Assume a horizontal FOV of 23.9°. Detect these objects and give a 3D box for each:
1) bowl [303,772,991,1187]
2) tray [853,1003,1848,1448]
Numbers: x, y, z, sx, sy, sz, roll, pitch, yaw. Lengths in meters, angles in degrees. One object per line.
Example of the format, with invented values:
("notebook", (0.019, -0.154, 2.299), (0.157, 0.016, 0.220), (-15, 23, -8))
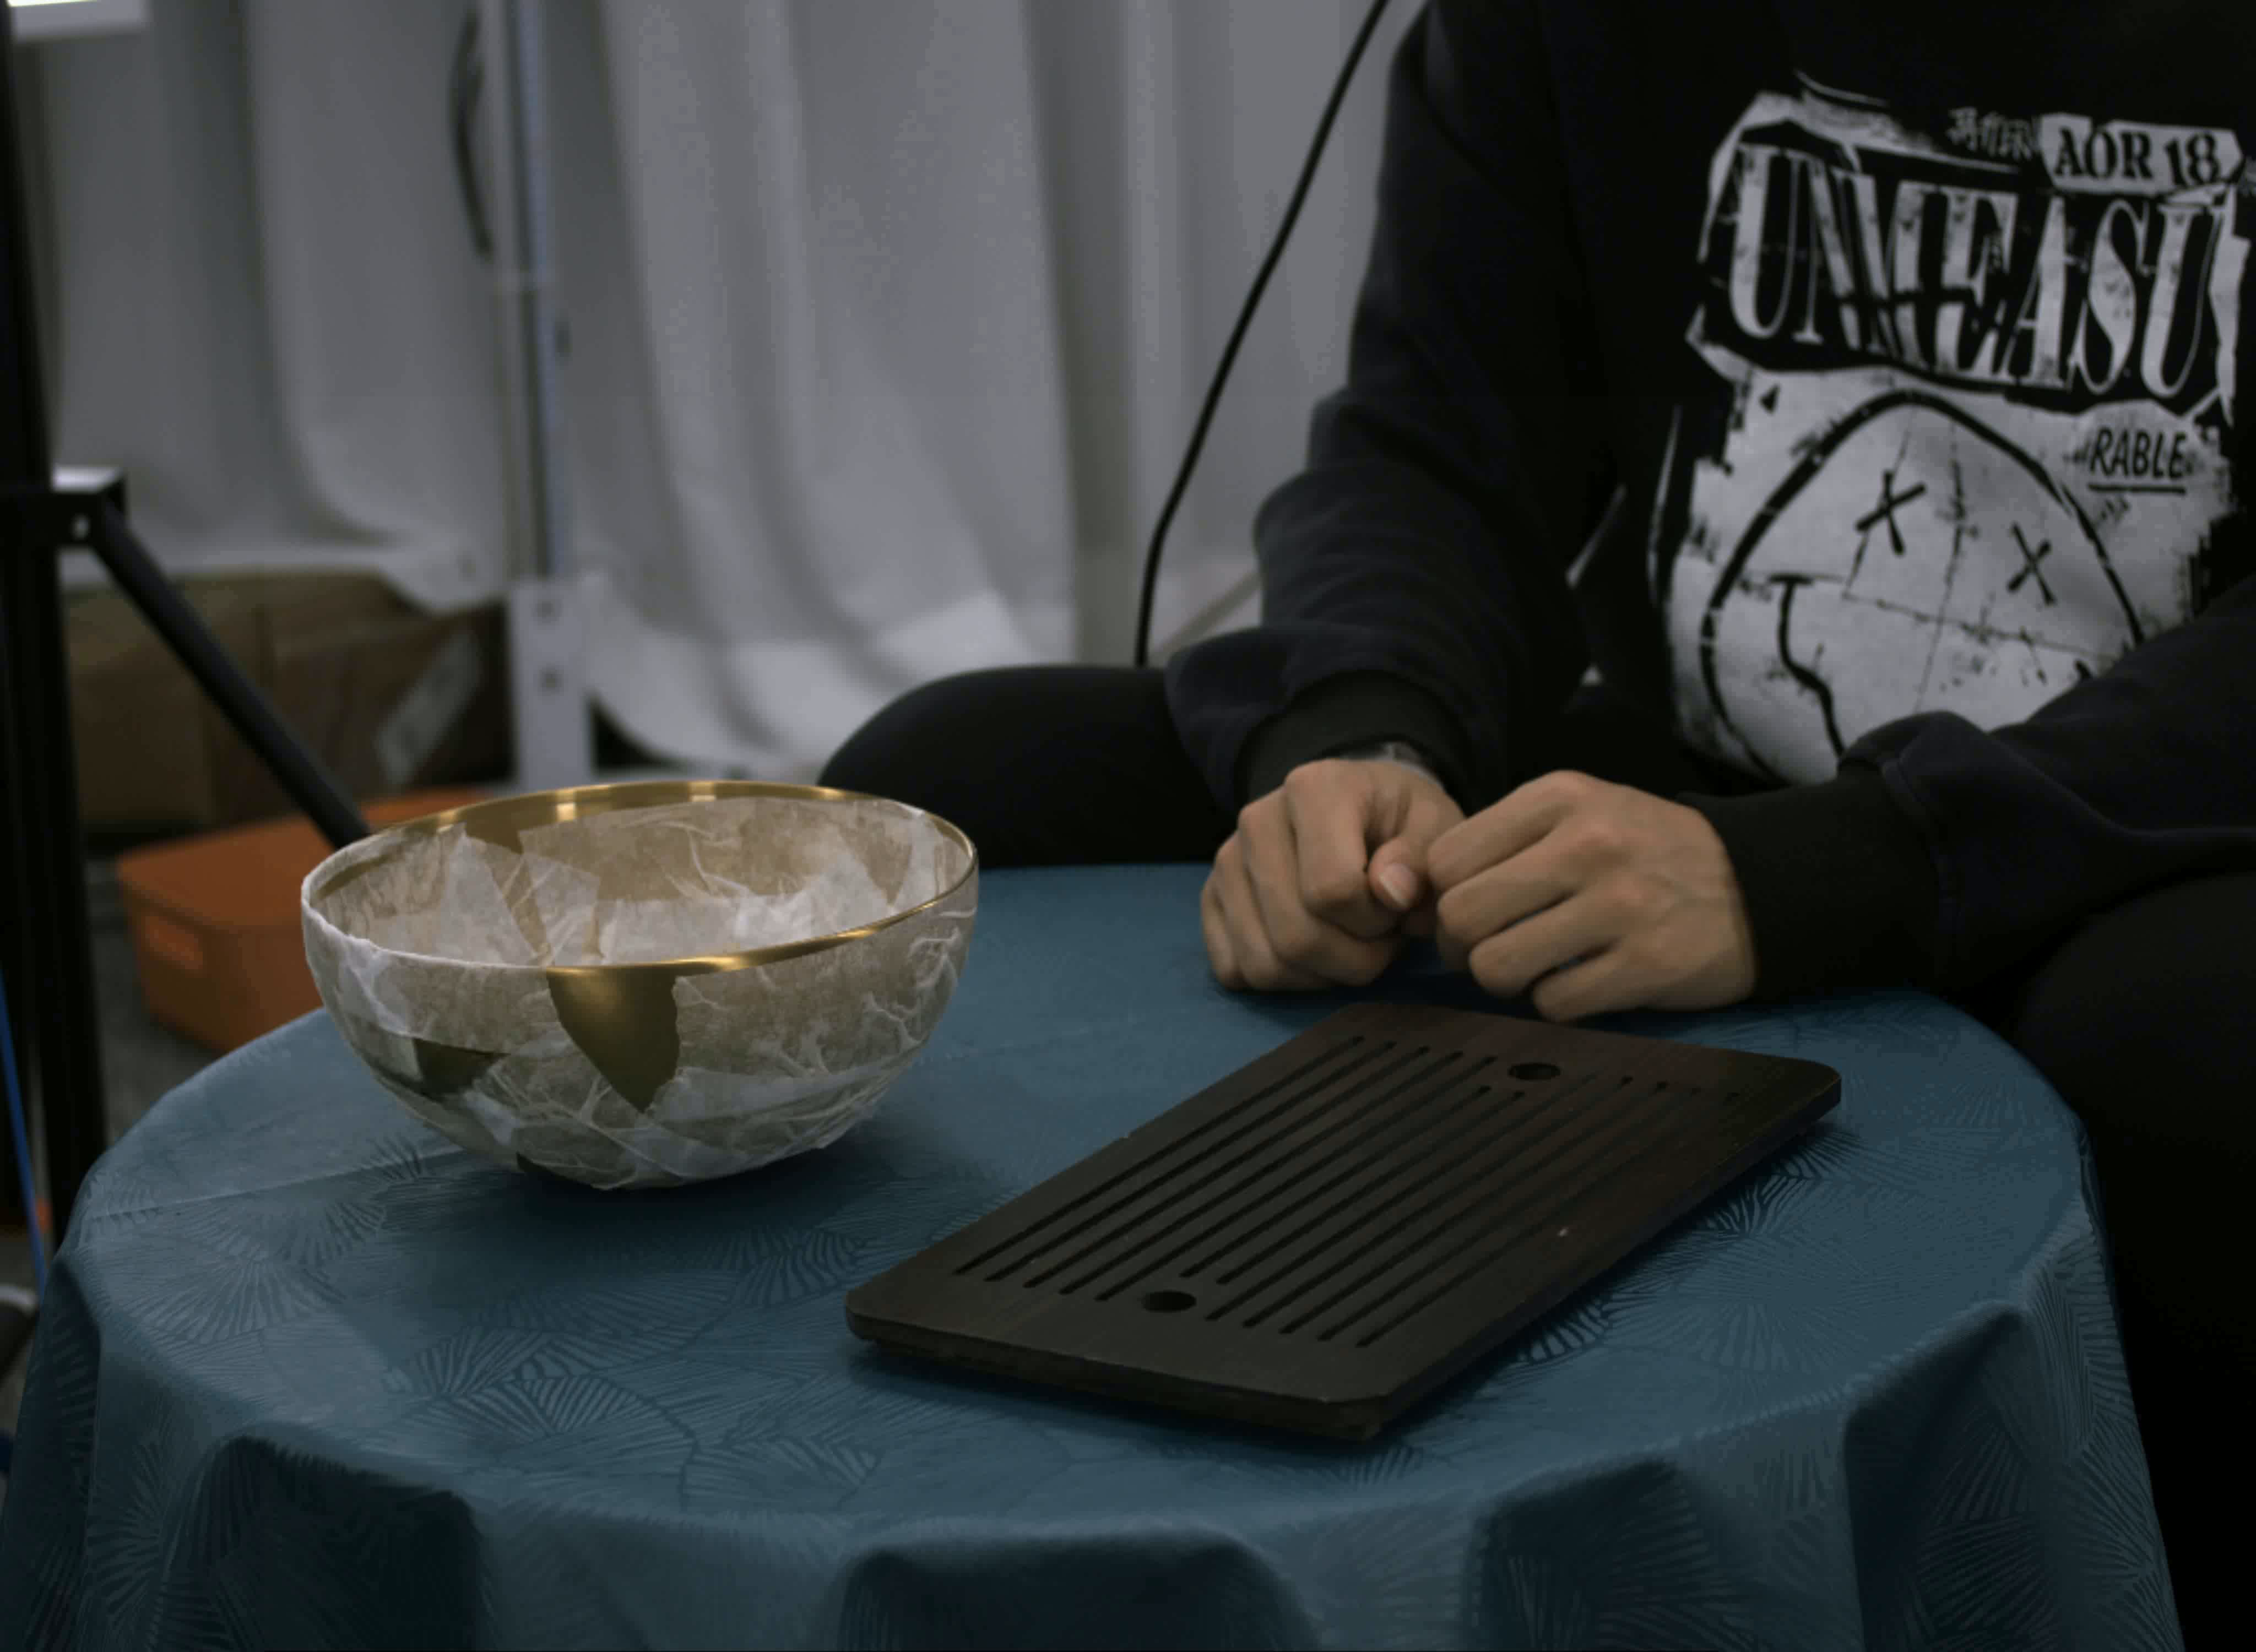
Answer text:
("bowl", (-0.139, 0.054, 1.601), (0.213, 0.094, 0.216), (-3, 15, -1))
("tray", (0.071, 0.110, 1.508), (0.173, 0.018, 0.300), (7, 18, 31))
